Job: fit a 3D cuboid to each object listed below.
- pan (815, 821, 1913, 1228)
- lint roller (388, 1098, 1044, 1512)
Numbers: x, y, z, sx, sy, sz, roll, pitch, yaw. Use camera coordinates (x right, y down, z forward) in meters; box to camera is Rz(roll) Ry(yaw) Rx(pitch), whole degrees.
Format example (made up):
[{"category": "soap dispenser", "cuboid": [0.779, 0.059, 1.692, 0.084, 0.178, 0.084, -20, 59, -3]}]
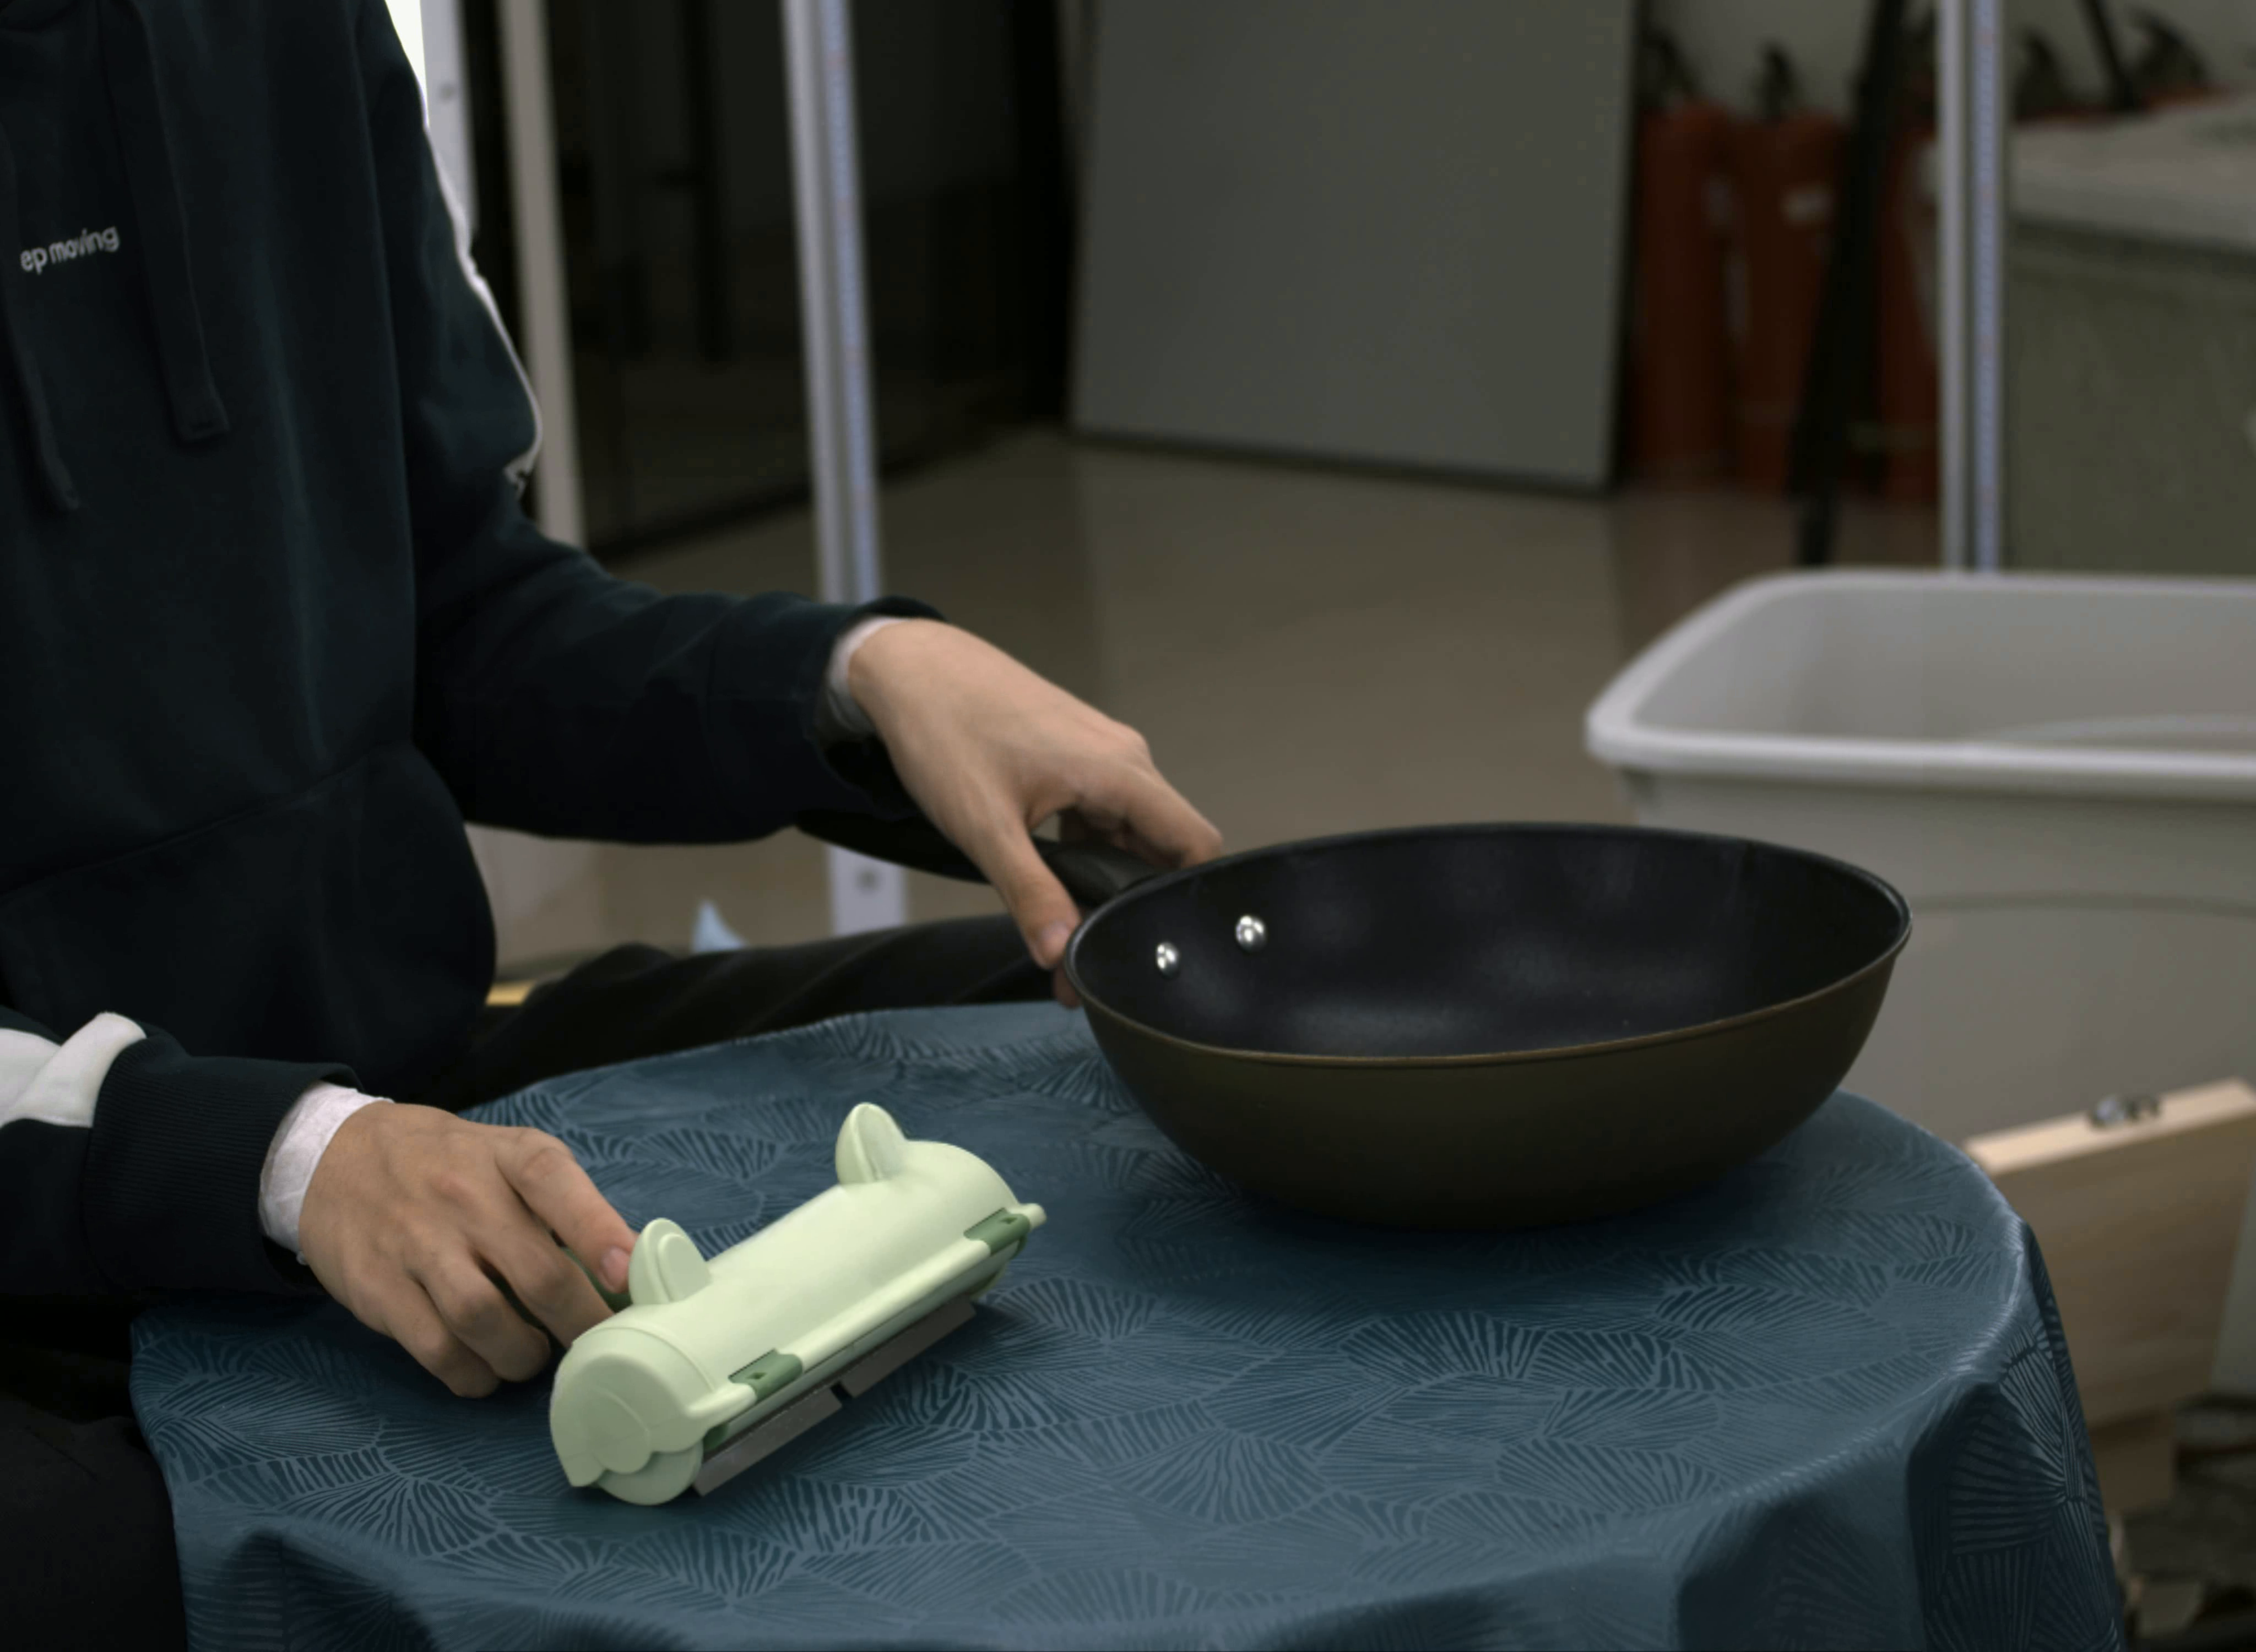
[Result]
[{"category": "pan", "cuboid": [0.053, 0.061, 1.827, 0.467, 0.088, 0.282, 8, 17, 44]}, {"category": "lint roller", "cuboid": [-0.147, 0.130, 1.620, 0.184, 0.083, 0.196, 10, 19, 28]}]
